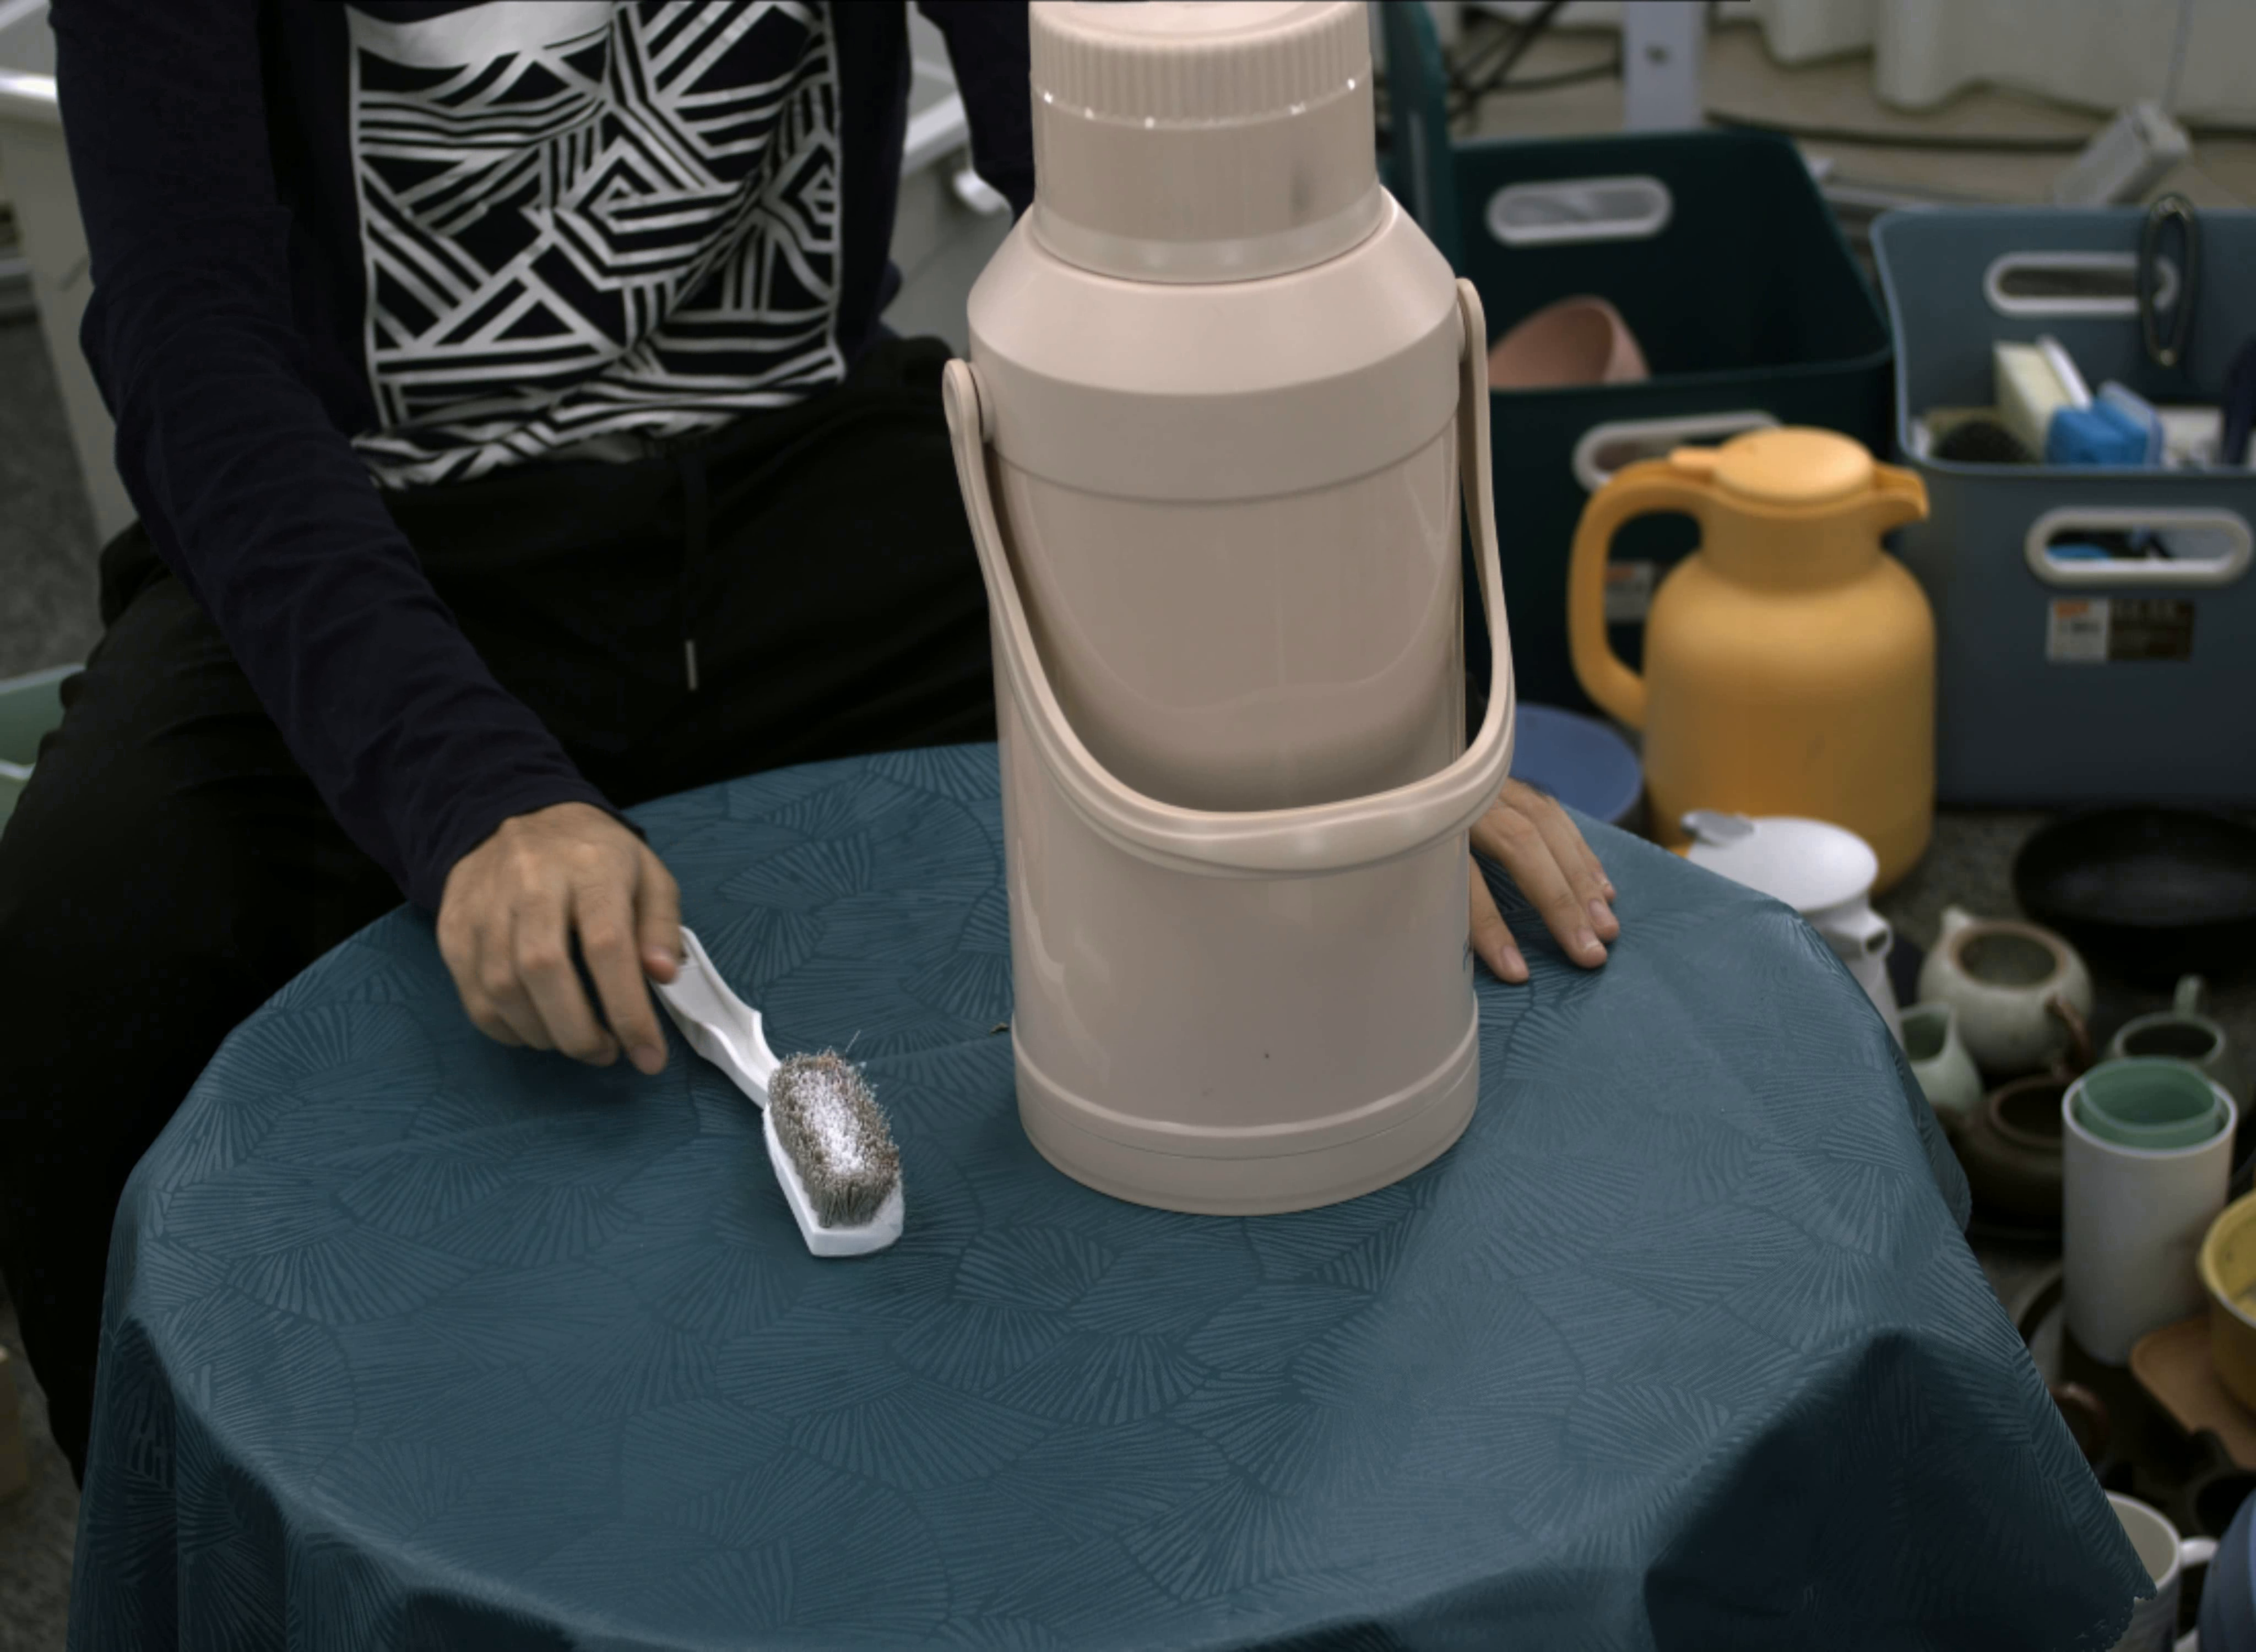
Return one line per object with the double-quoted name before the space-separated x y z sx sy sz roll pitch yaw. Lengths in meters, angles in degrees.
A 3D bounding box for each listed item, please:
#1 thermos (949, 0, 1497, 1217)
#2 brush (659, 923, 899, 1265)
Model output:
"thermos" 0.031 -0.090 1.839 0.175 0.402 0.209 -12 27 -14
"brush" -0.124 0.074 1.913 0.034 0.050 0.246 -14 29 -13
